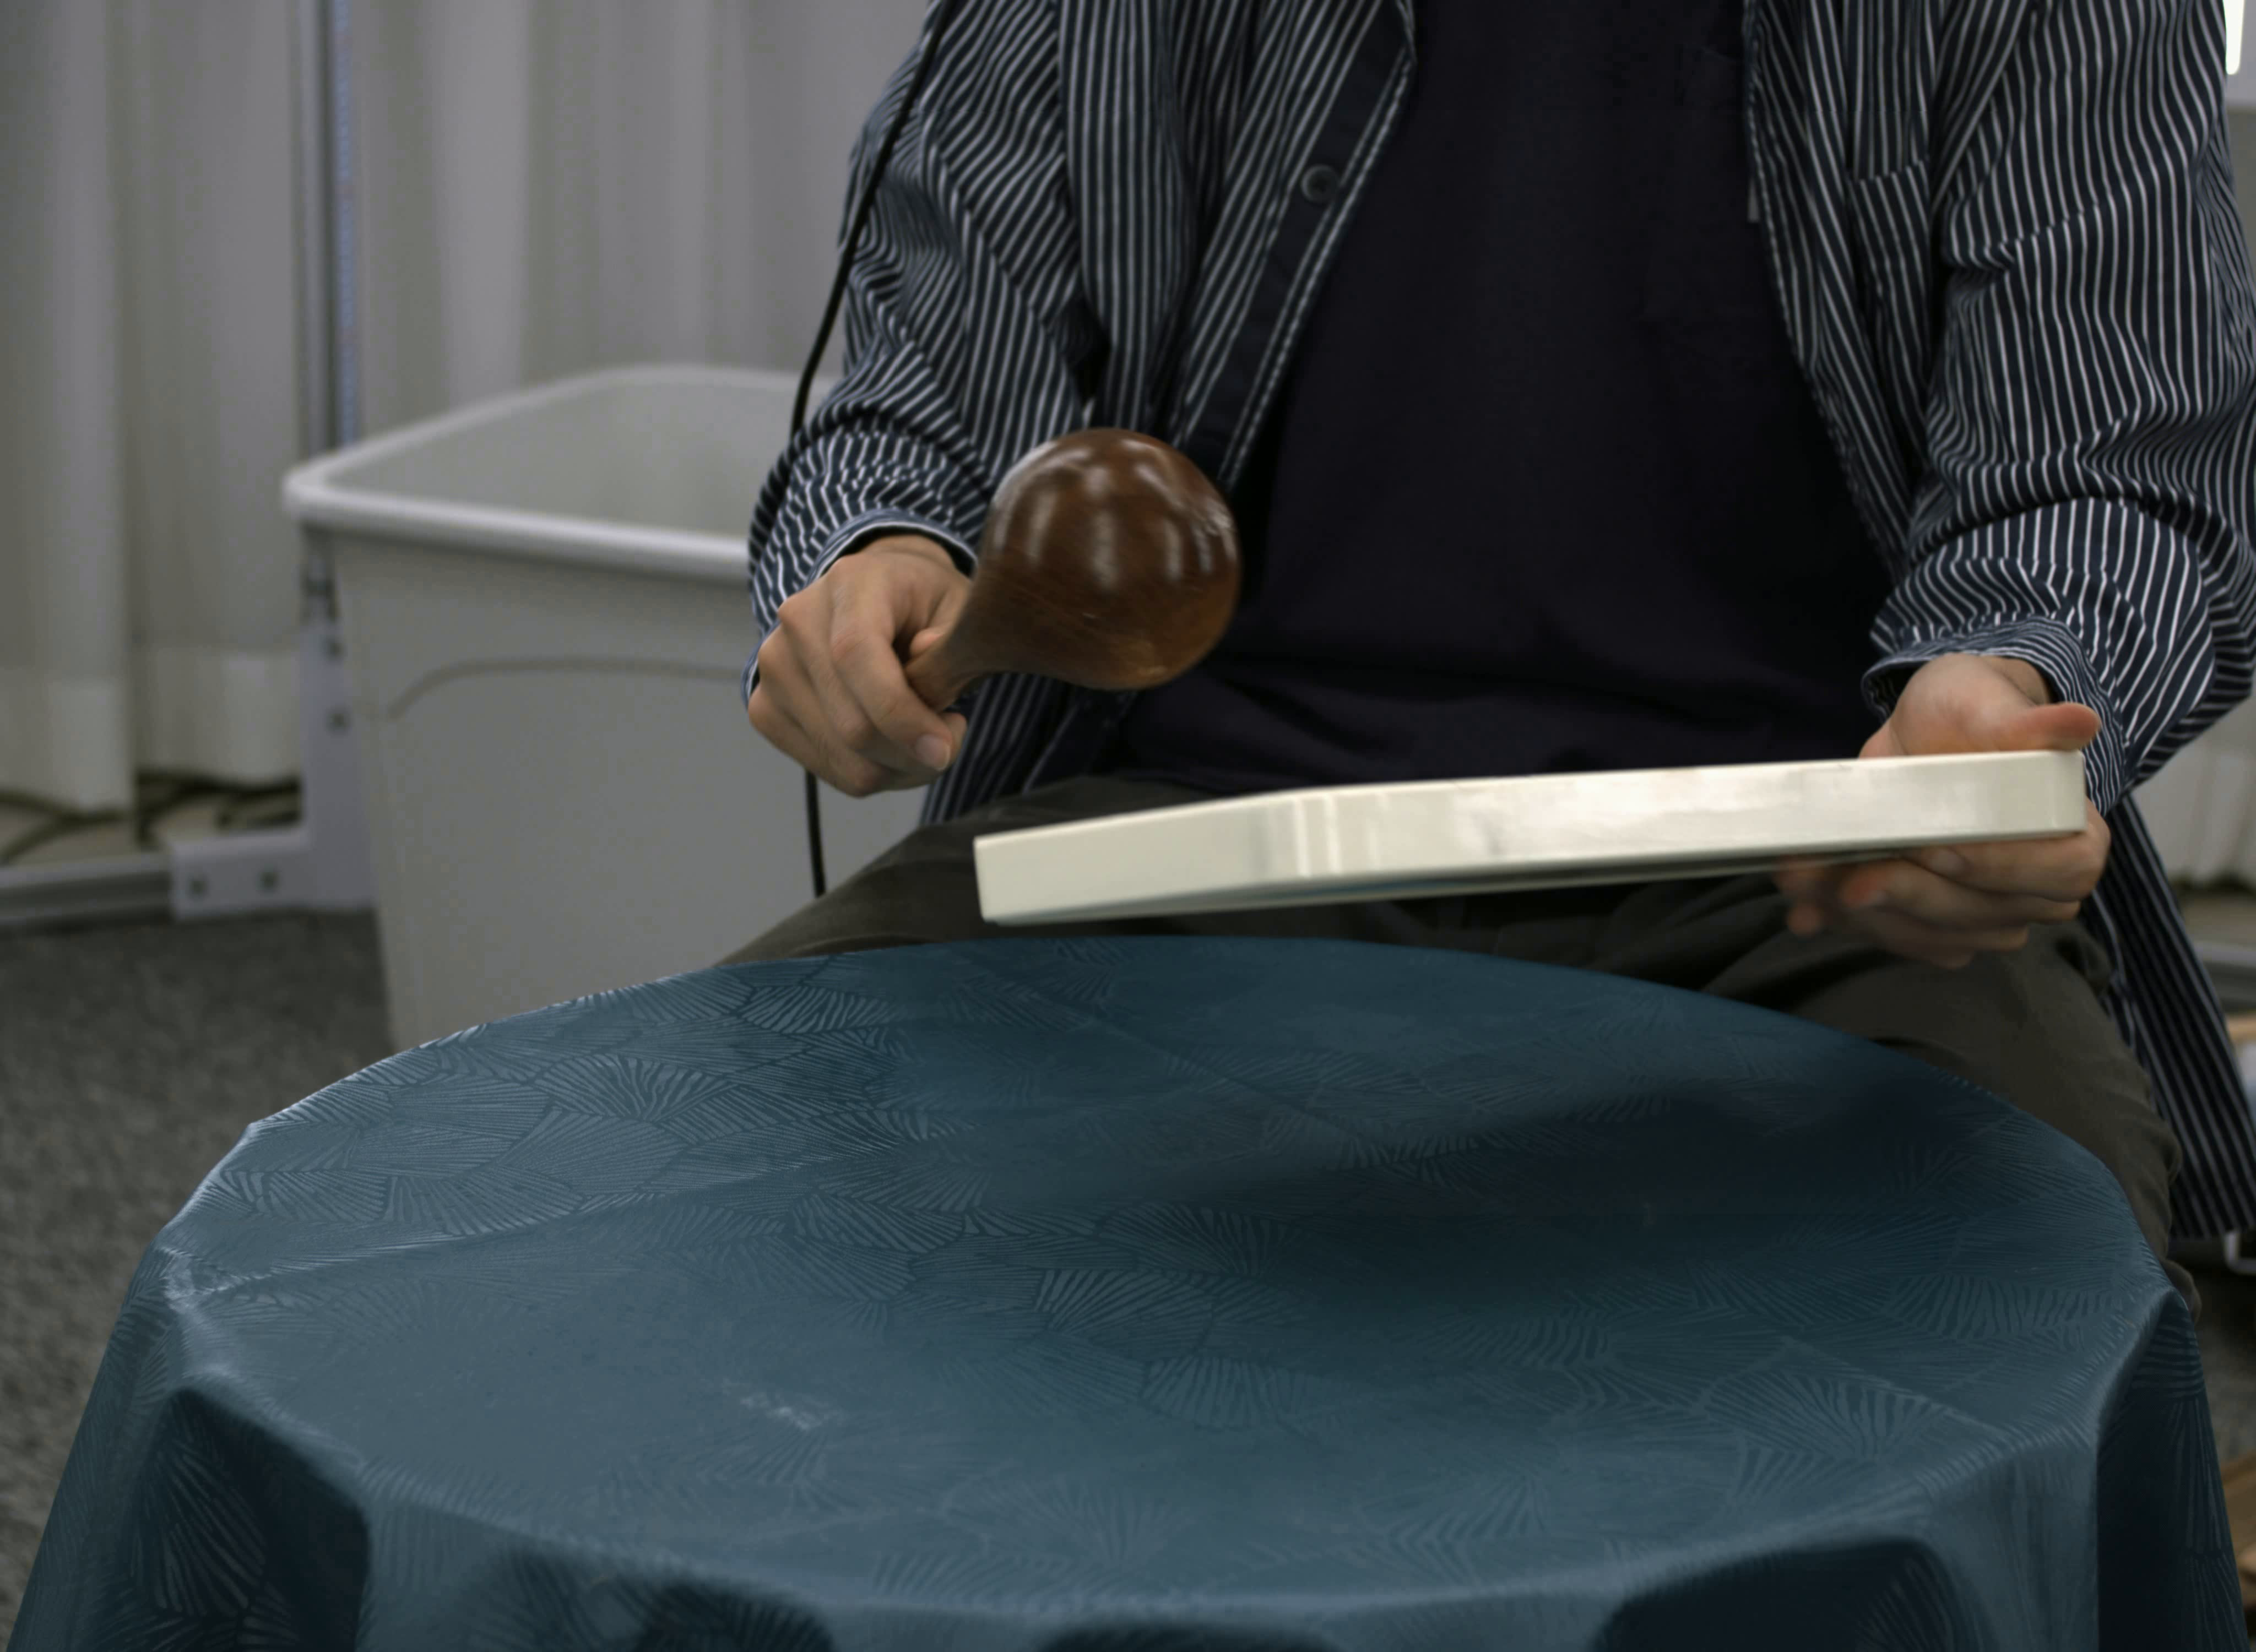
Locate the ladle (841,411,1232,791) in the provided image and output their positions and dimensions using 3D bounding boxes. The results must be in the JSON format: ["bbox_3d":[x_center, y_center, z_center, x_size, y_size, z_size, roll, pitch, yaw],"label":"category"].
[{"bbox_3d":[-0.034,-0.064,1.693,0.076,0.082,0.274,-24,-4,-17],"label":"ladle"}]

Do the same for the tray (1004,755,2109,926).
[{"bbox_3d":[0.132,0.005,1.607,0.302,0.027,0.190,-3,-3,-33],"label":"tray"}]
